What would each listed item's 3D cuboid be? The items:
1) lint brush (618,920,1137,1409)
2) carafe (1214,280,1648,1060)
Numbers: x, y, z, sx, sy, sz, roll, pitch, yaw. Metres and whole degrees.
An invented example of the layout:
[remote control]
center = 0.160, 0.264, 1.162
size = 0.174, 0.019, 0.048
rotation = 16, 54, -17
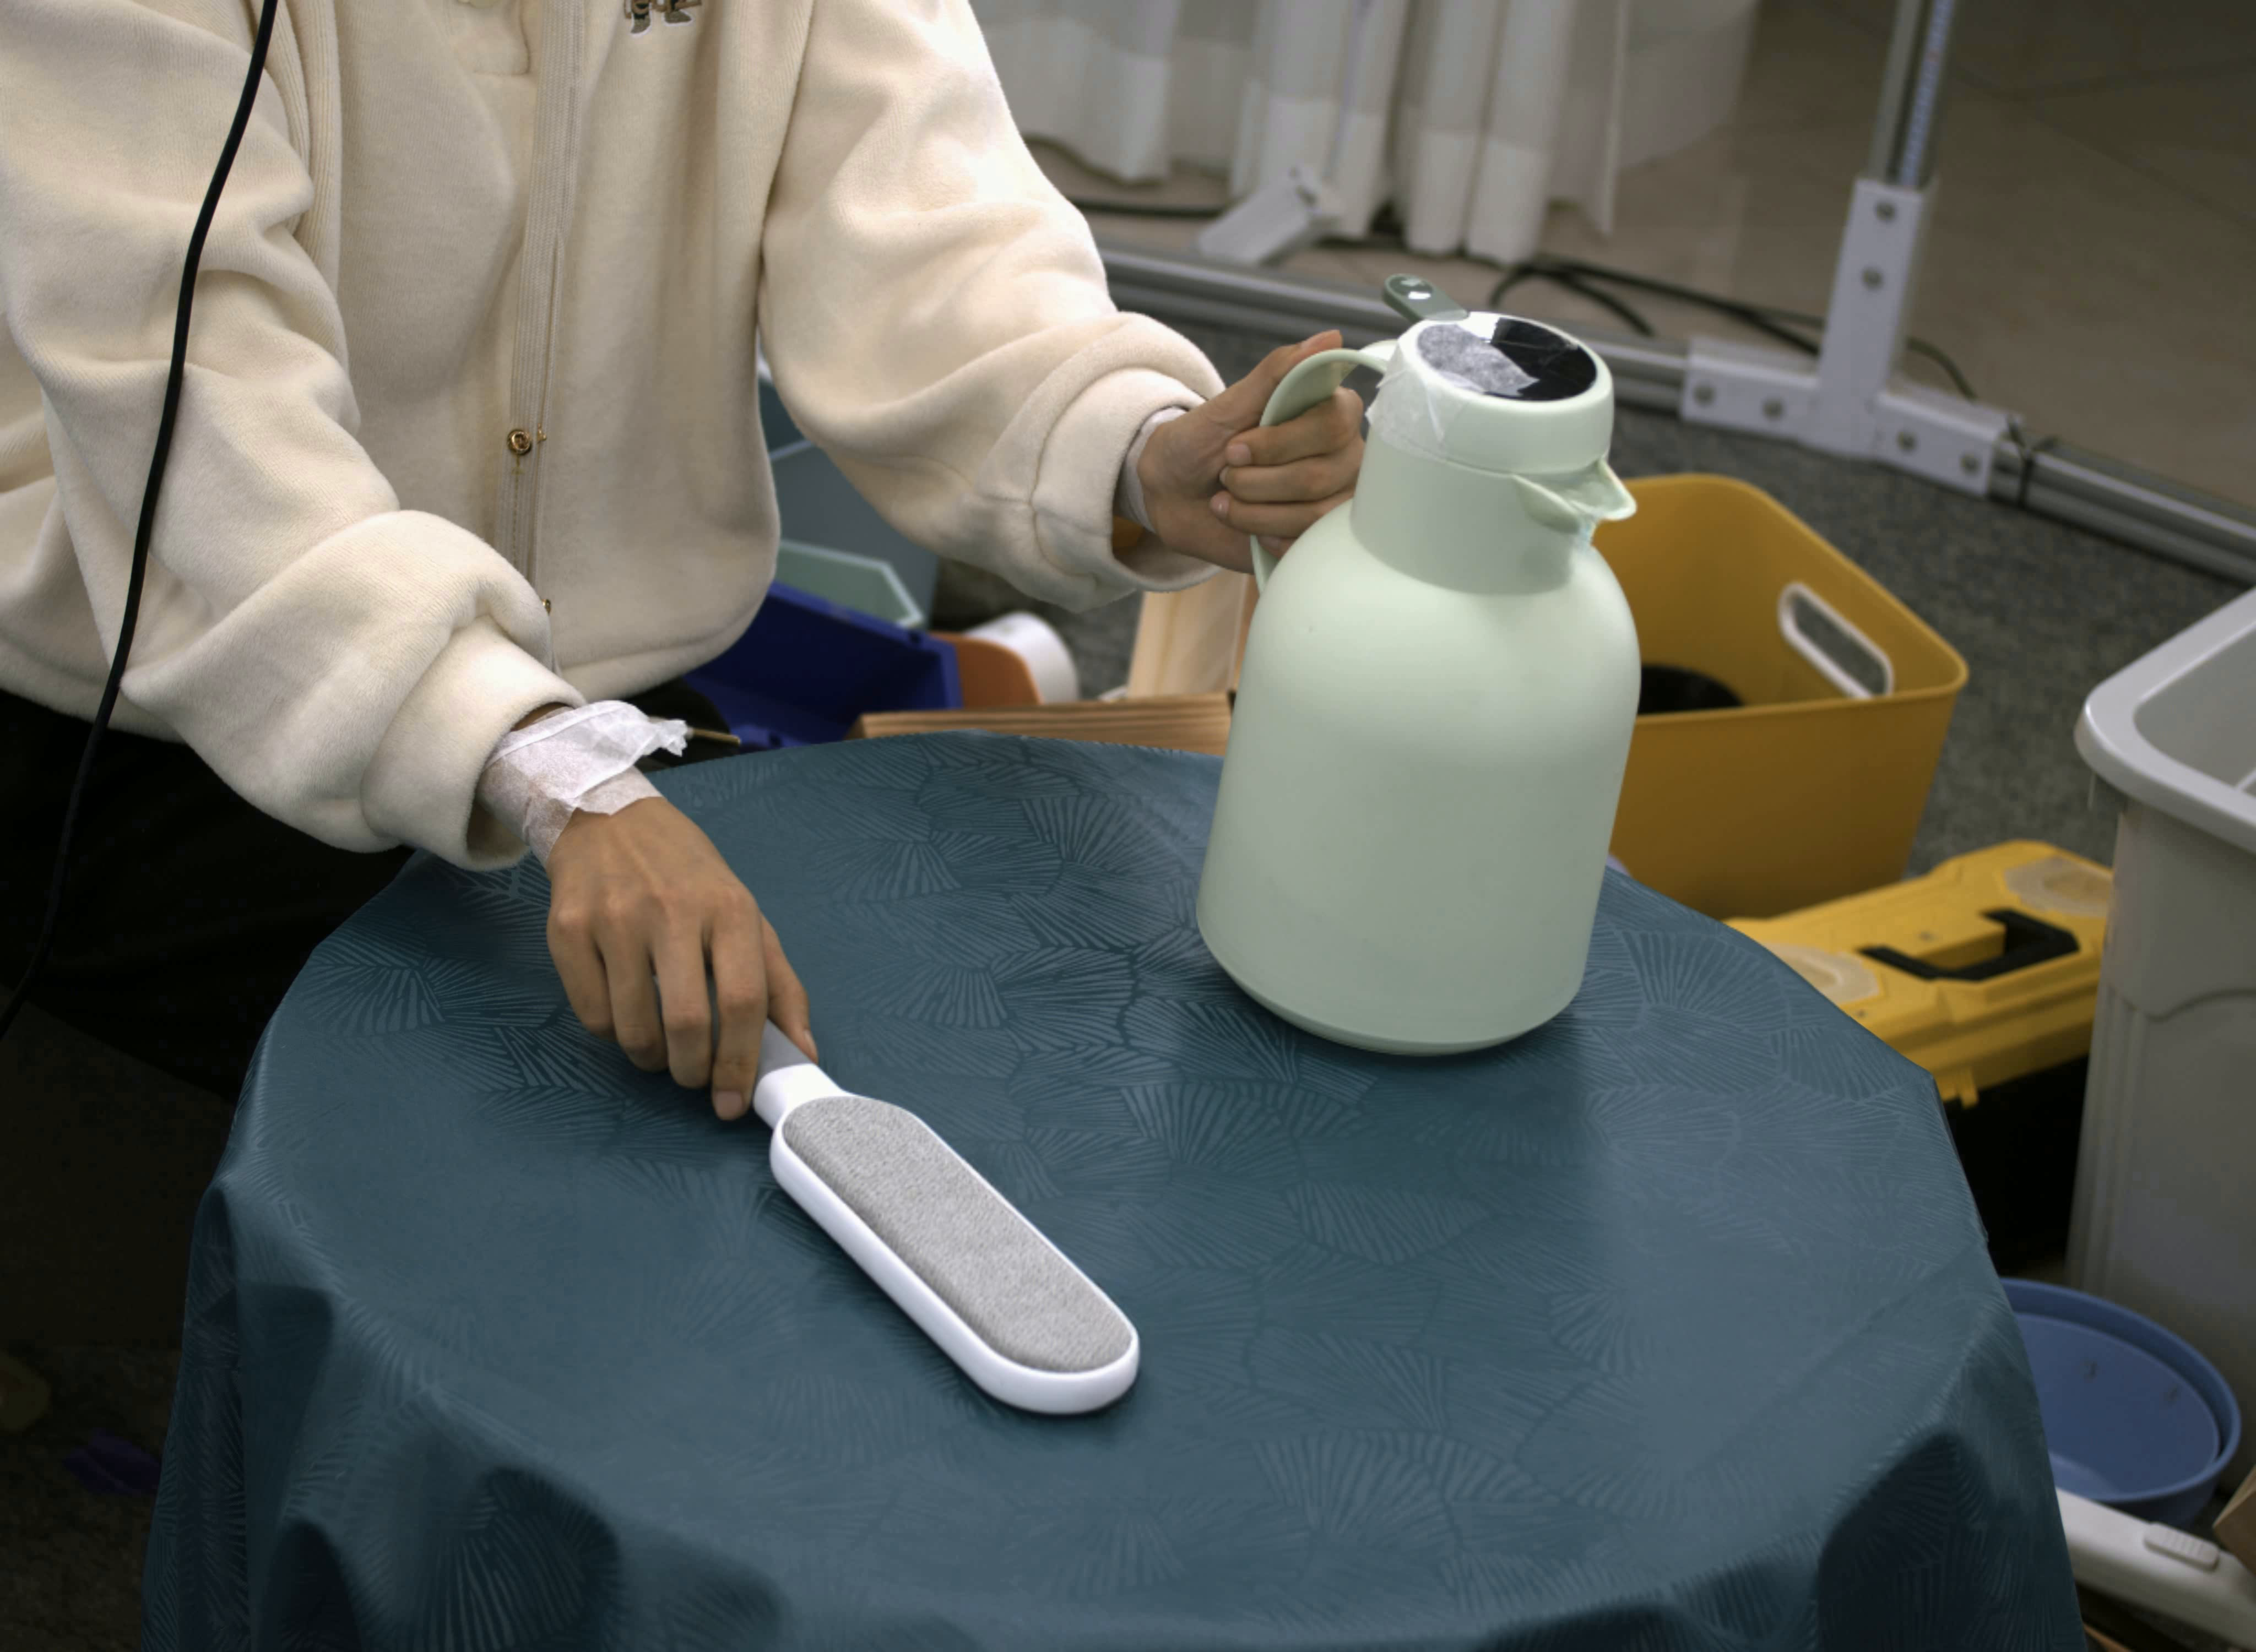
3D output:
[lint brush]
center = -0.091, 0.108, 1.780
size = 0.060, 0.021, 0.312
rotation = -12, 33, -30
[carafe]
center = 0.106, -0.061, 1.905
size = 0.143, 0.256, 0.188
rotation = -13, 33, -31
